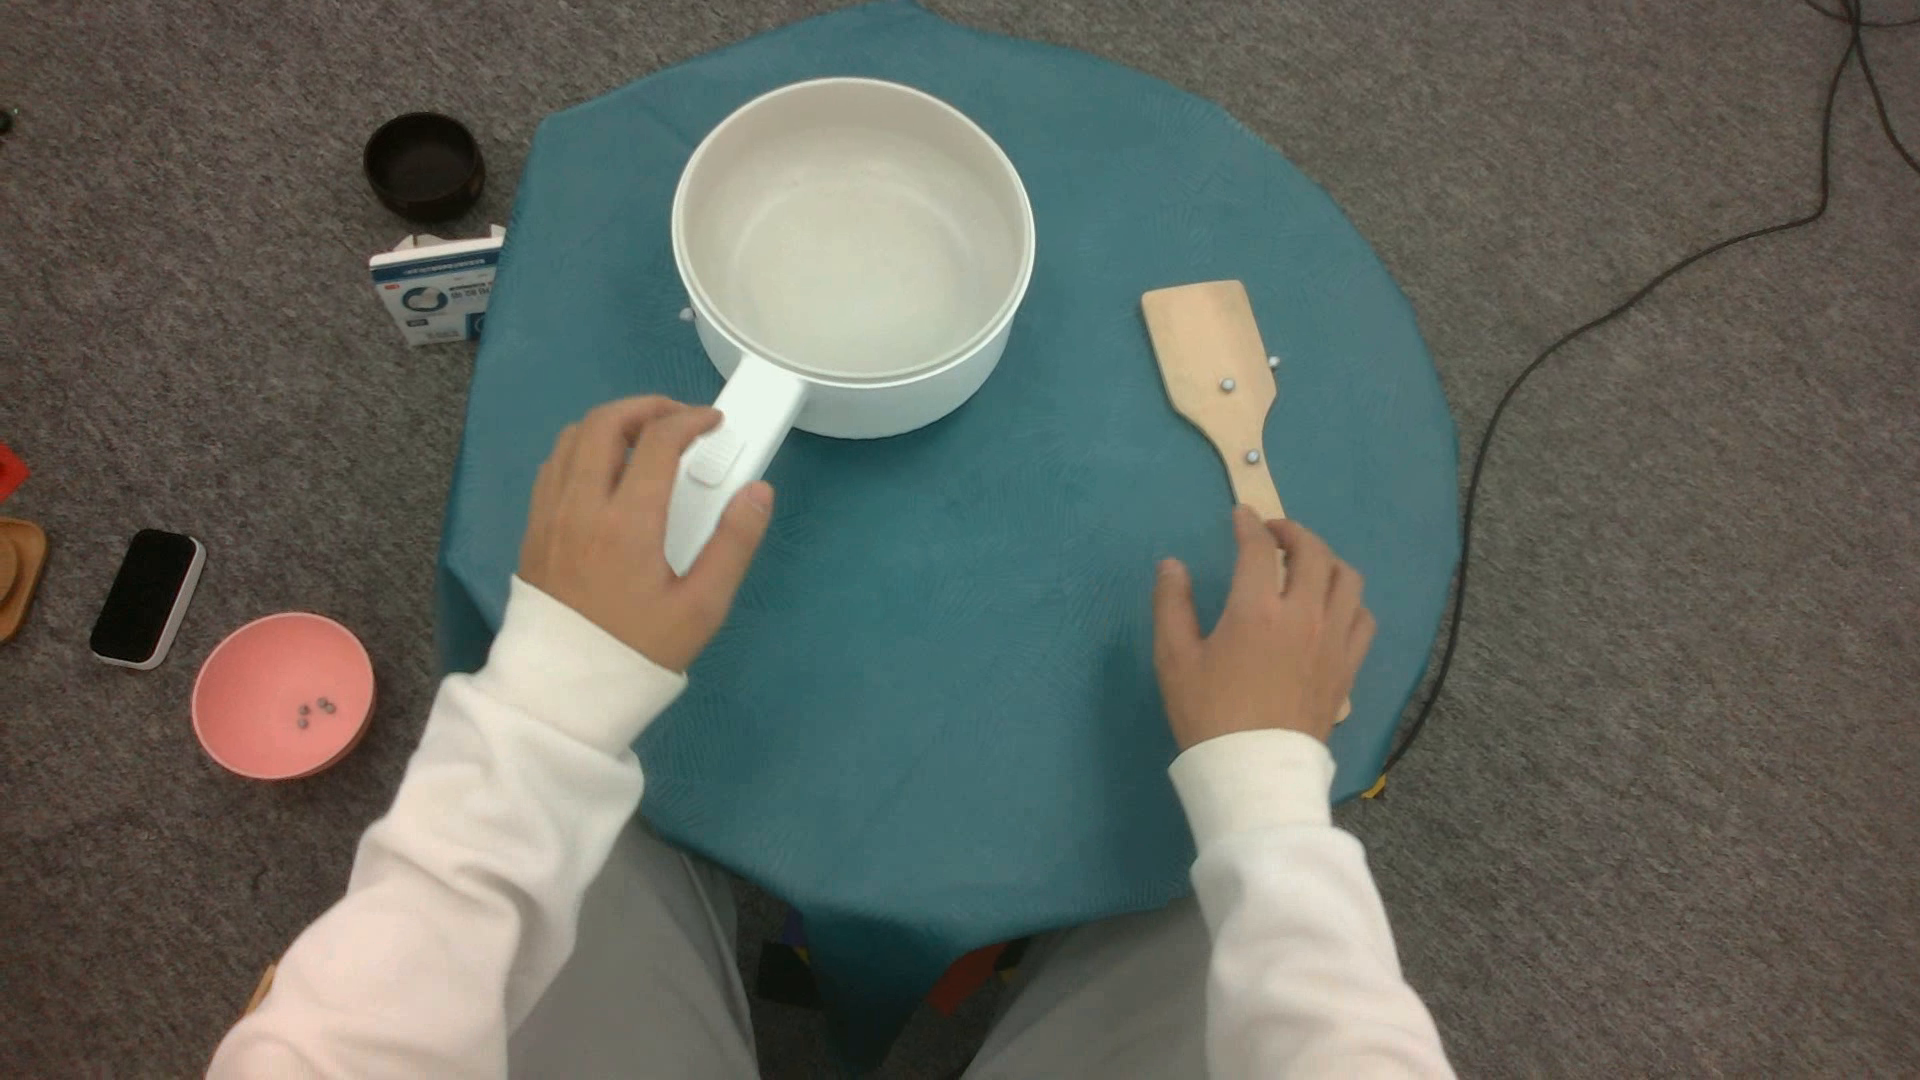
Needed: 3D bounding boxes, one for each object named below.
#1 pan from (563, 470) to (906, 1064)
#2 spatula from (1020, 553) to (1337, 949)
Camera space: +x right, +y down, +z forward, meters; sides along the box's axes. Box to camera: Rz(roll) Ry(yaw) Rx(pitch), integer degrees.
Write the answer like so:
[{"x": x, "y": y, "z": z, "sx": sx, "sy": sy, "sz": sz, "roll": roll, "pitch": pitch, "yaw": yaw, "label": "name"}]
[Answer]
[{"x": -0.144, "y": 0.126, "z": 0.801, "sx": 0.201, "sy": 0.101, "sz": 0.356, "roll": 7, "pitch": 55, "yaw": 5, "label": "pan"}, {"x": 0.137, "y": 0.123, "z": 0.851, "sx": 0.072, "sy": 0.010, "sz": 0.293, "roll": -23, "pitch": 56, "yaw": -17, "label": "spatula"}]
